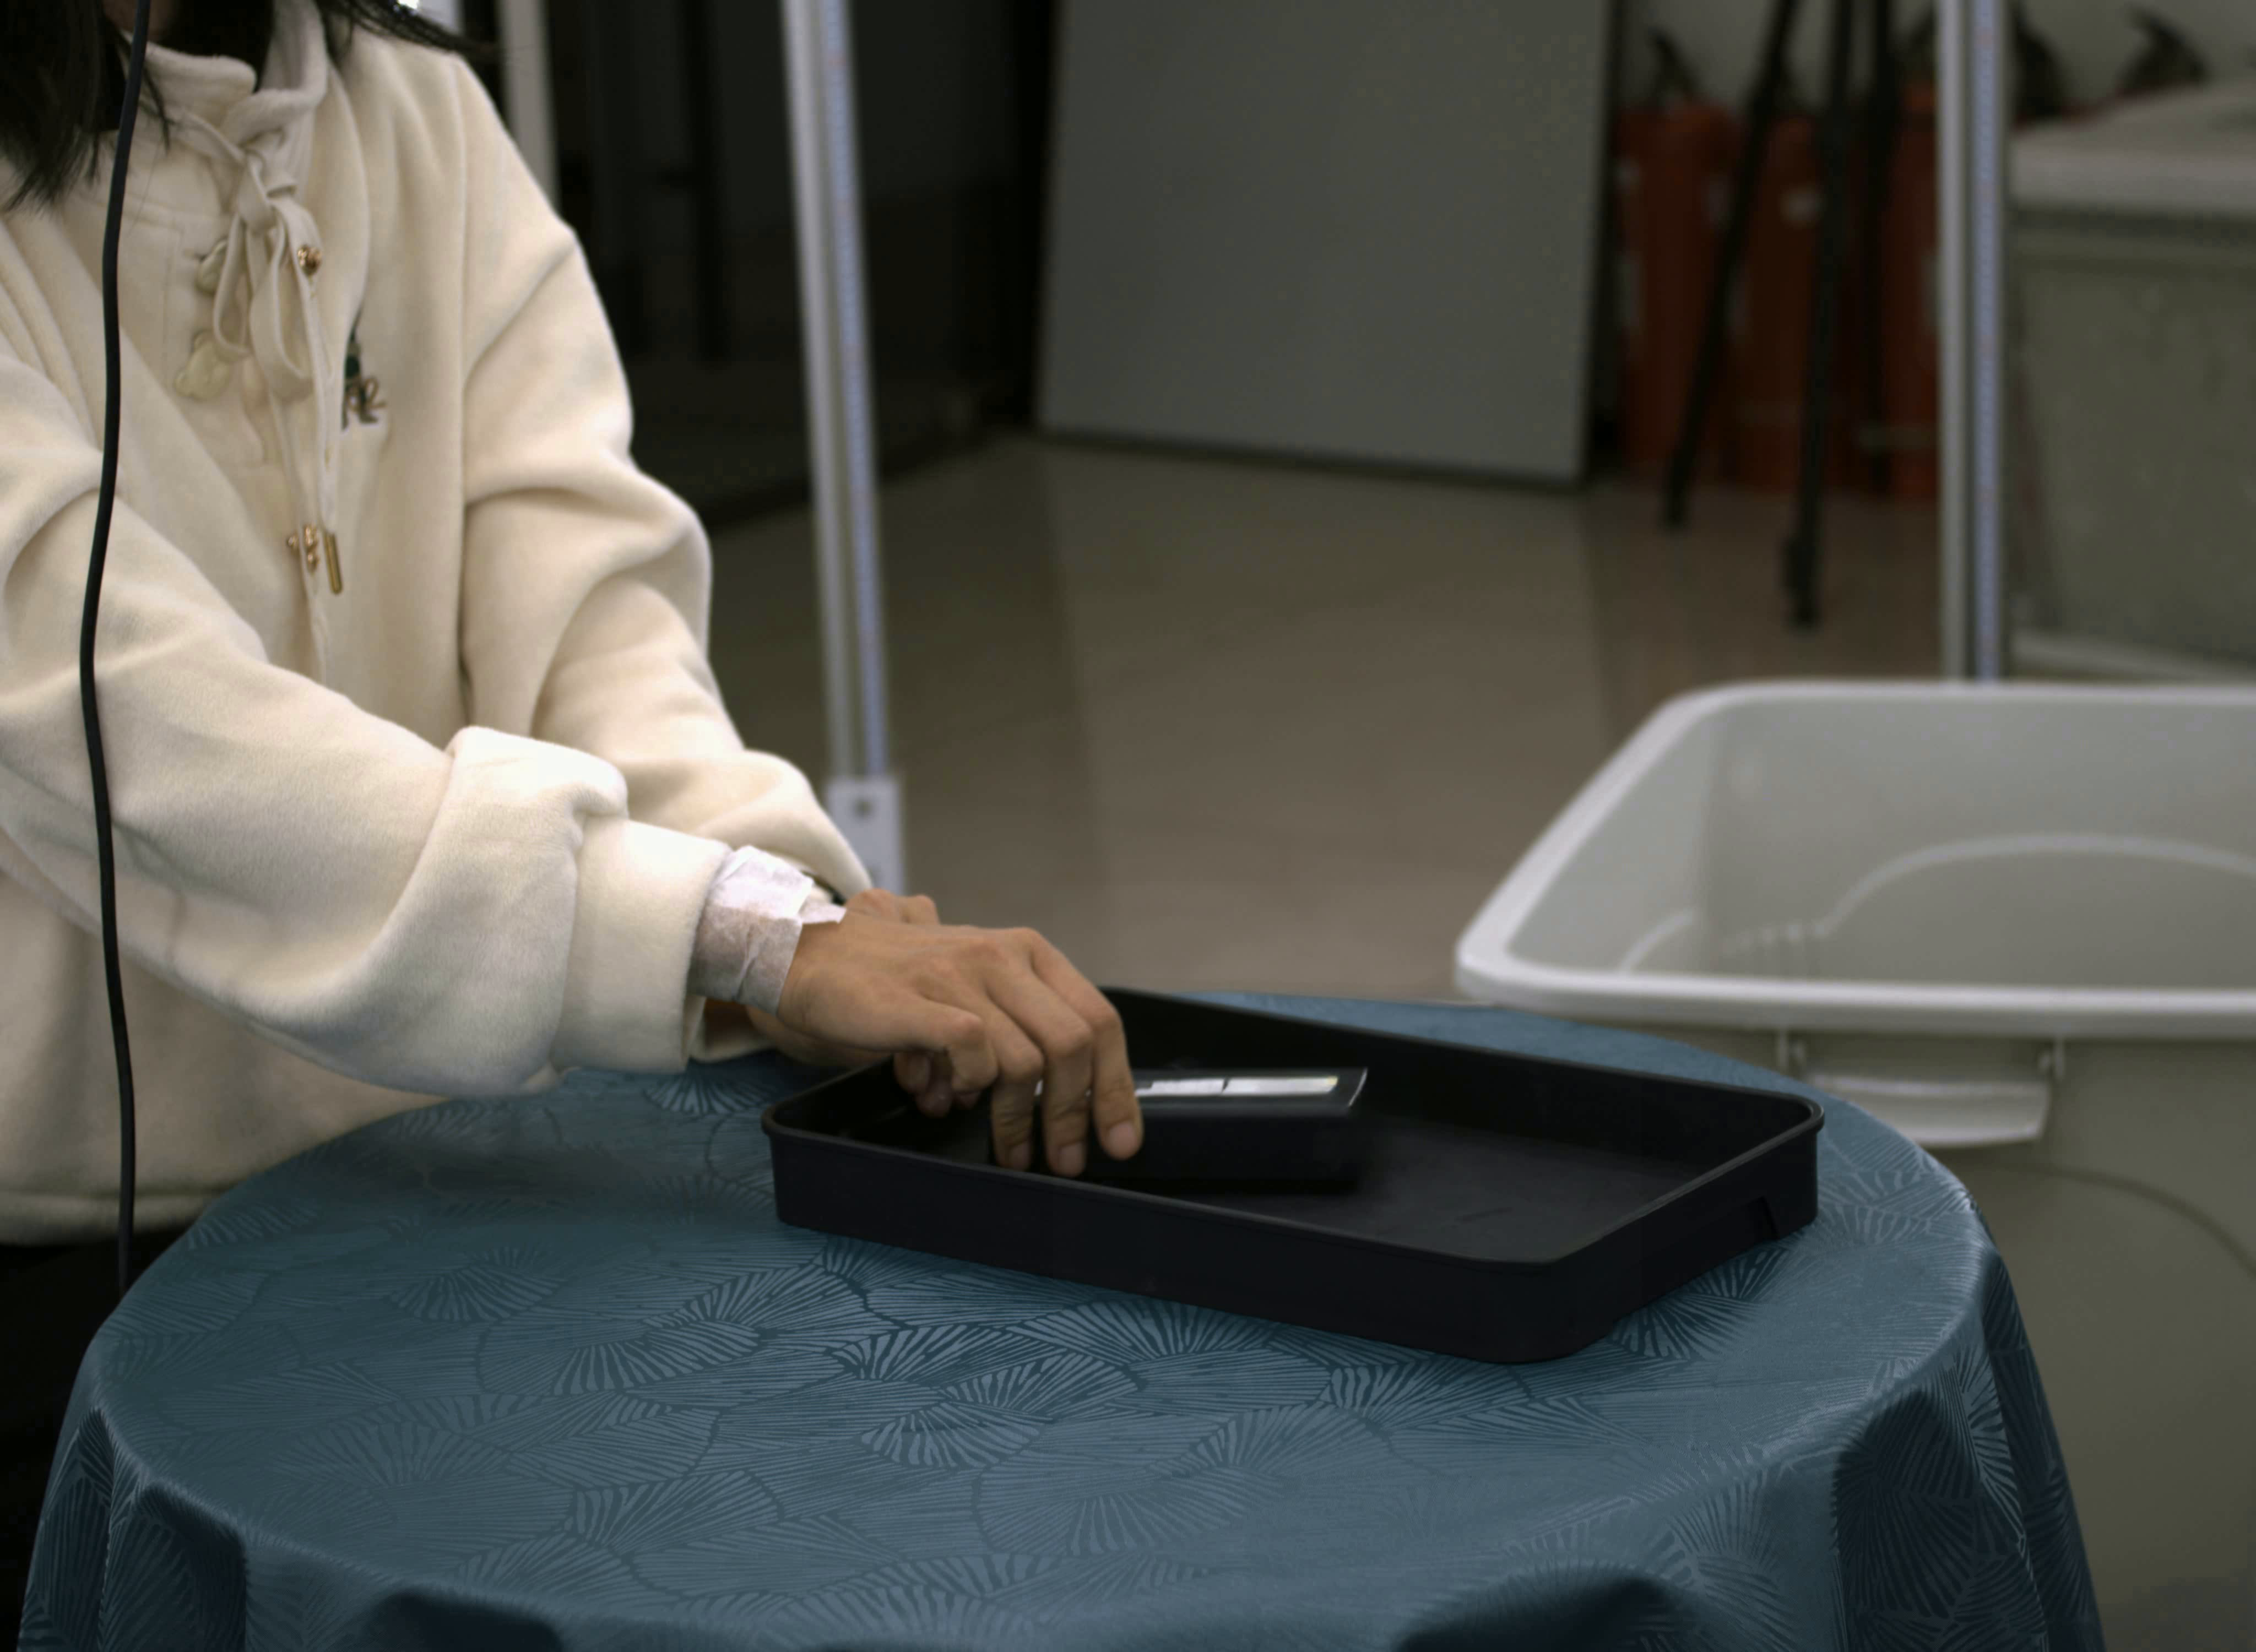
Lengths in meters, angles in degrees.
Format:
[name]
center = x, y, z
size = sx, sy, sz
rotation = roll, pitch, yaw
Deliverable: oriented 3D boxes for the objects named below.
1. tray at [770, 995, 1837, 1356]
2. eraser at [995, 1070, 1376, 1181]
[tray]
center = 0.055, 0.108, 1.729
size = 0.320, 0.037, 0.181
rotation = 6, 17, 37
[eraser]
center = 0.021, 0.099, 1.774
size = 0.124, 0.031, 0.053
rotation = -2, 7, 9
